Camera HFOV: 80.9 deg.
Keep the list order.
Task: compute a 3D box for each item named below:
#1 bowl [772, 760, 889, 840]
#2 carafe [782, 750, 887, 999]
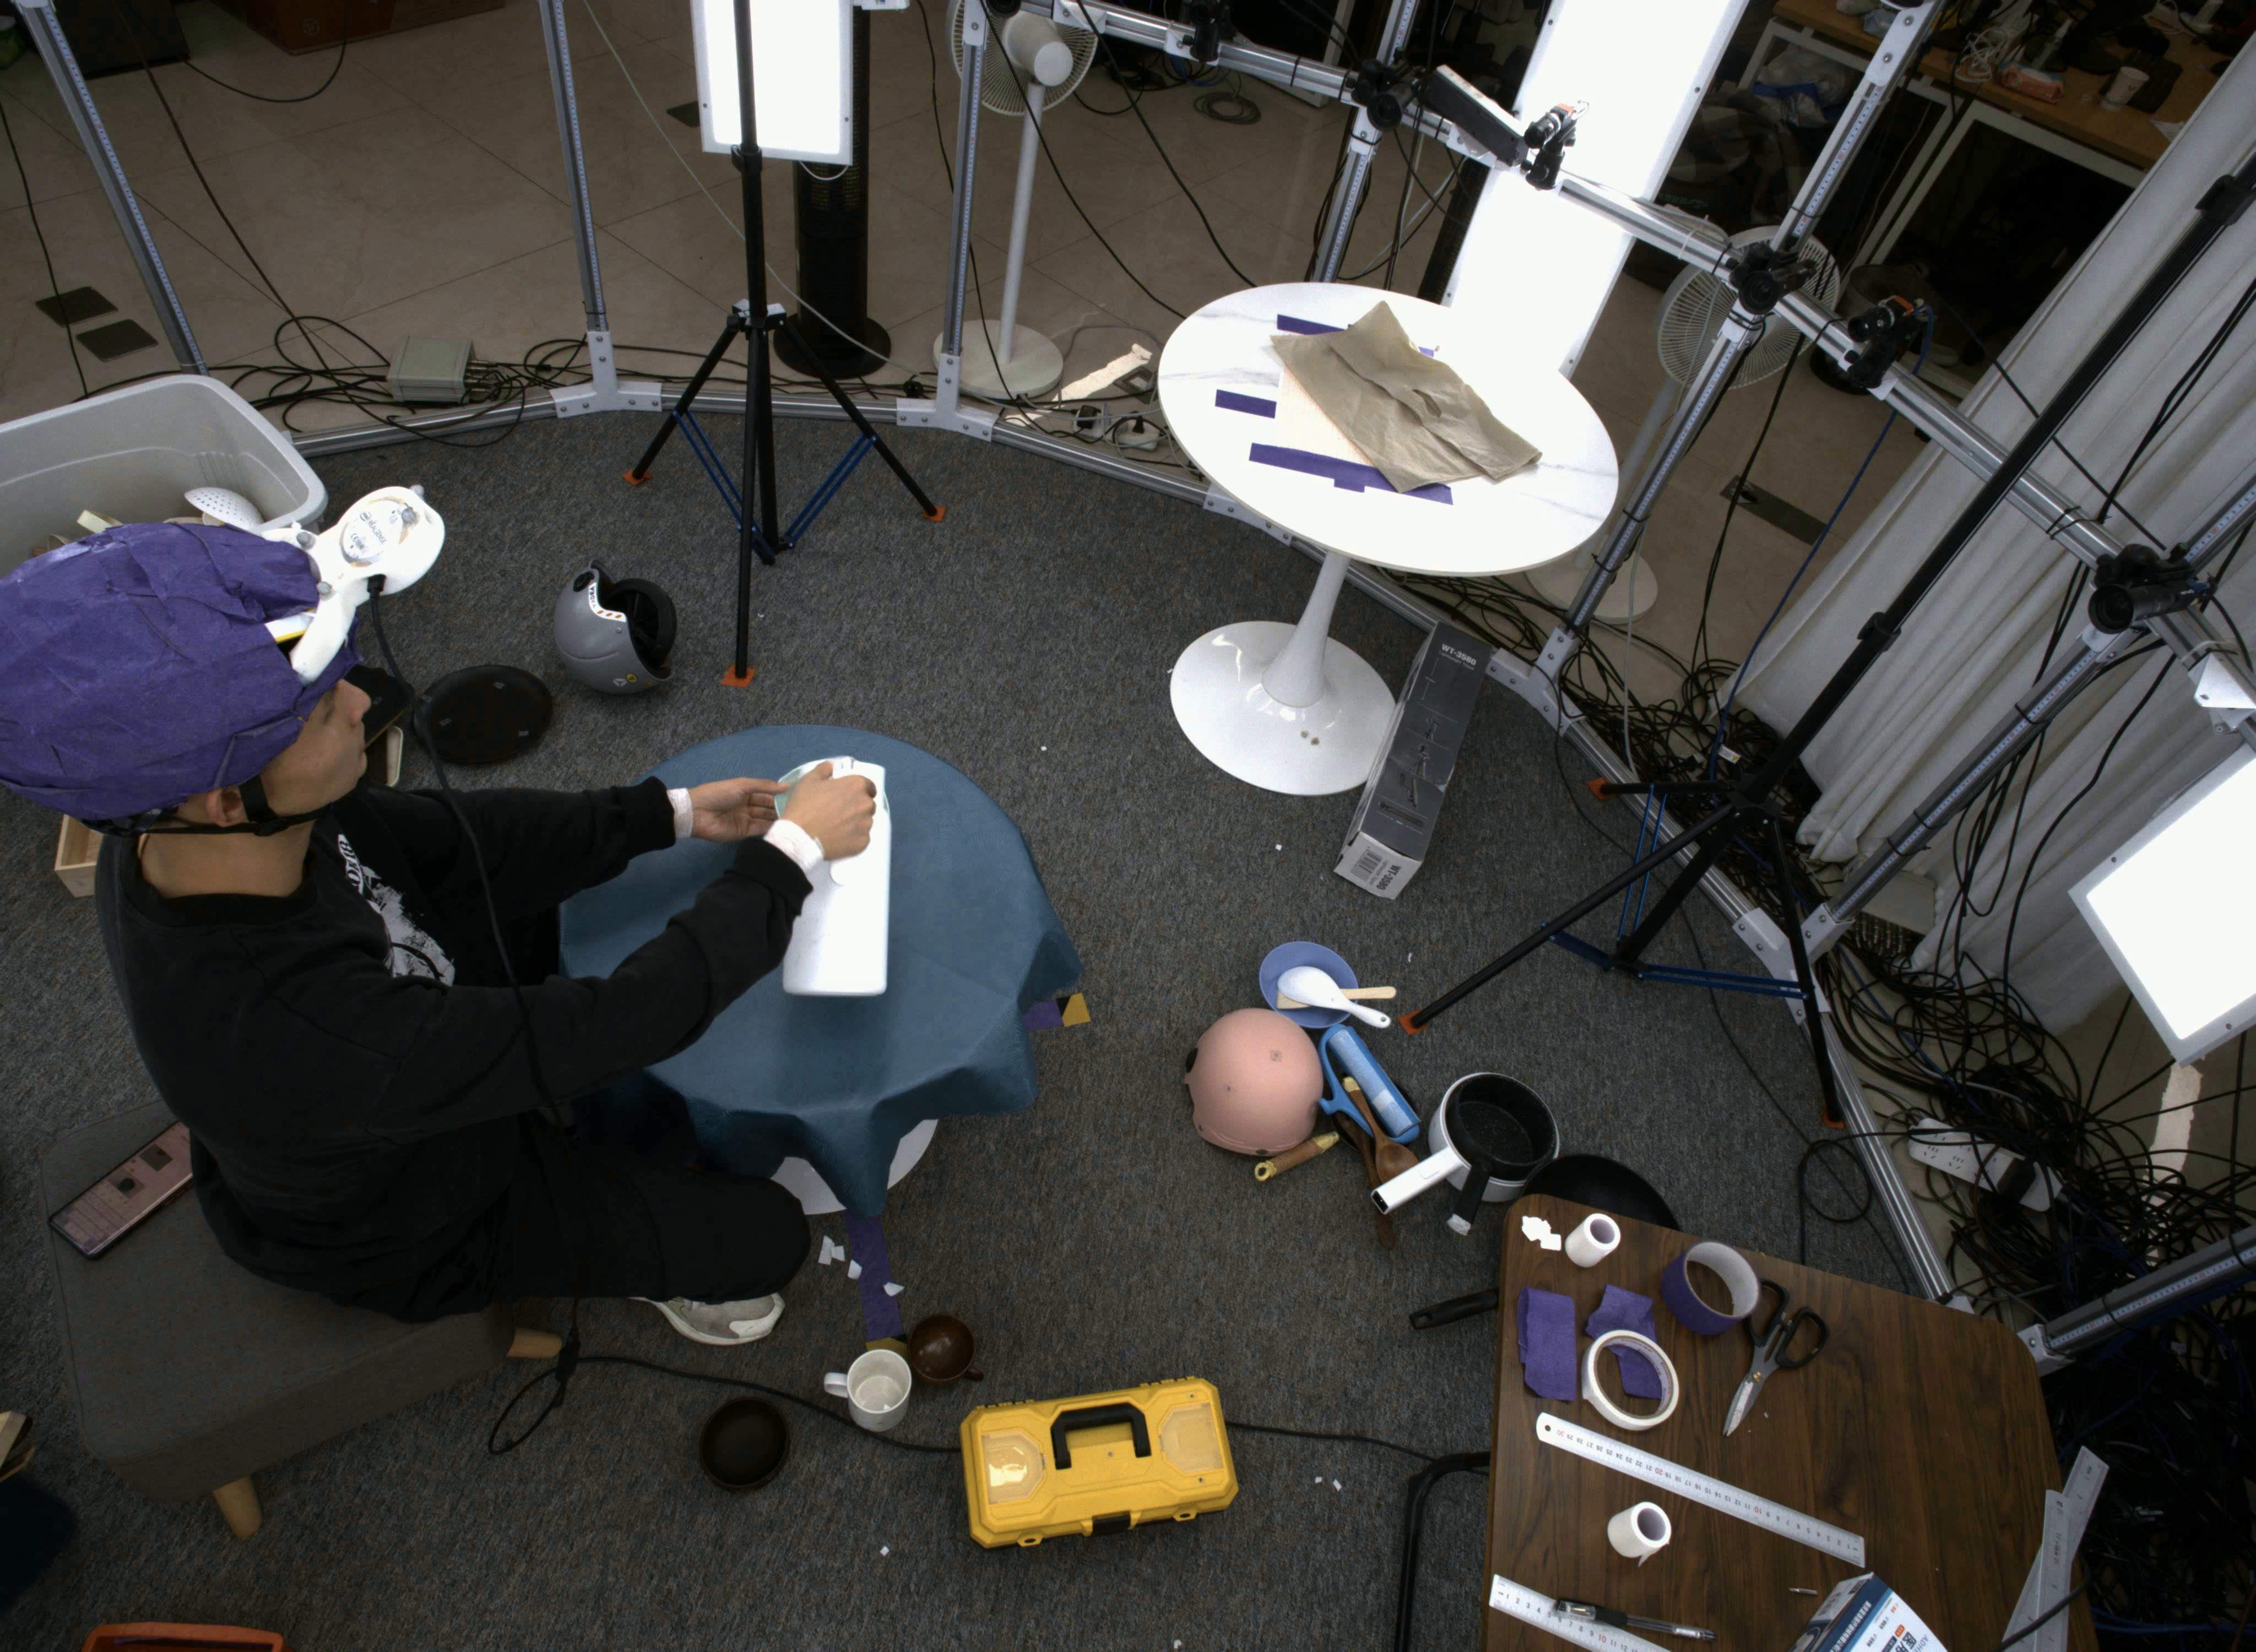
[{"bbox_3d":[-0.382,-0.012,1.668,0.151,0.059,0.149,8,57,-11],"label":"bowl"},{"bbox_3d":[-0.330,0.055,1.476,0.124,0.171,0.270,4,80,-16],"label":"carafe"}]
